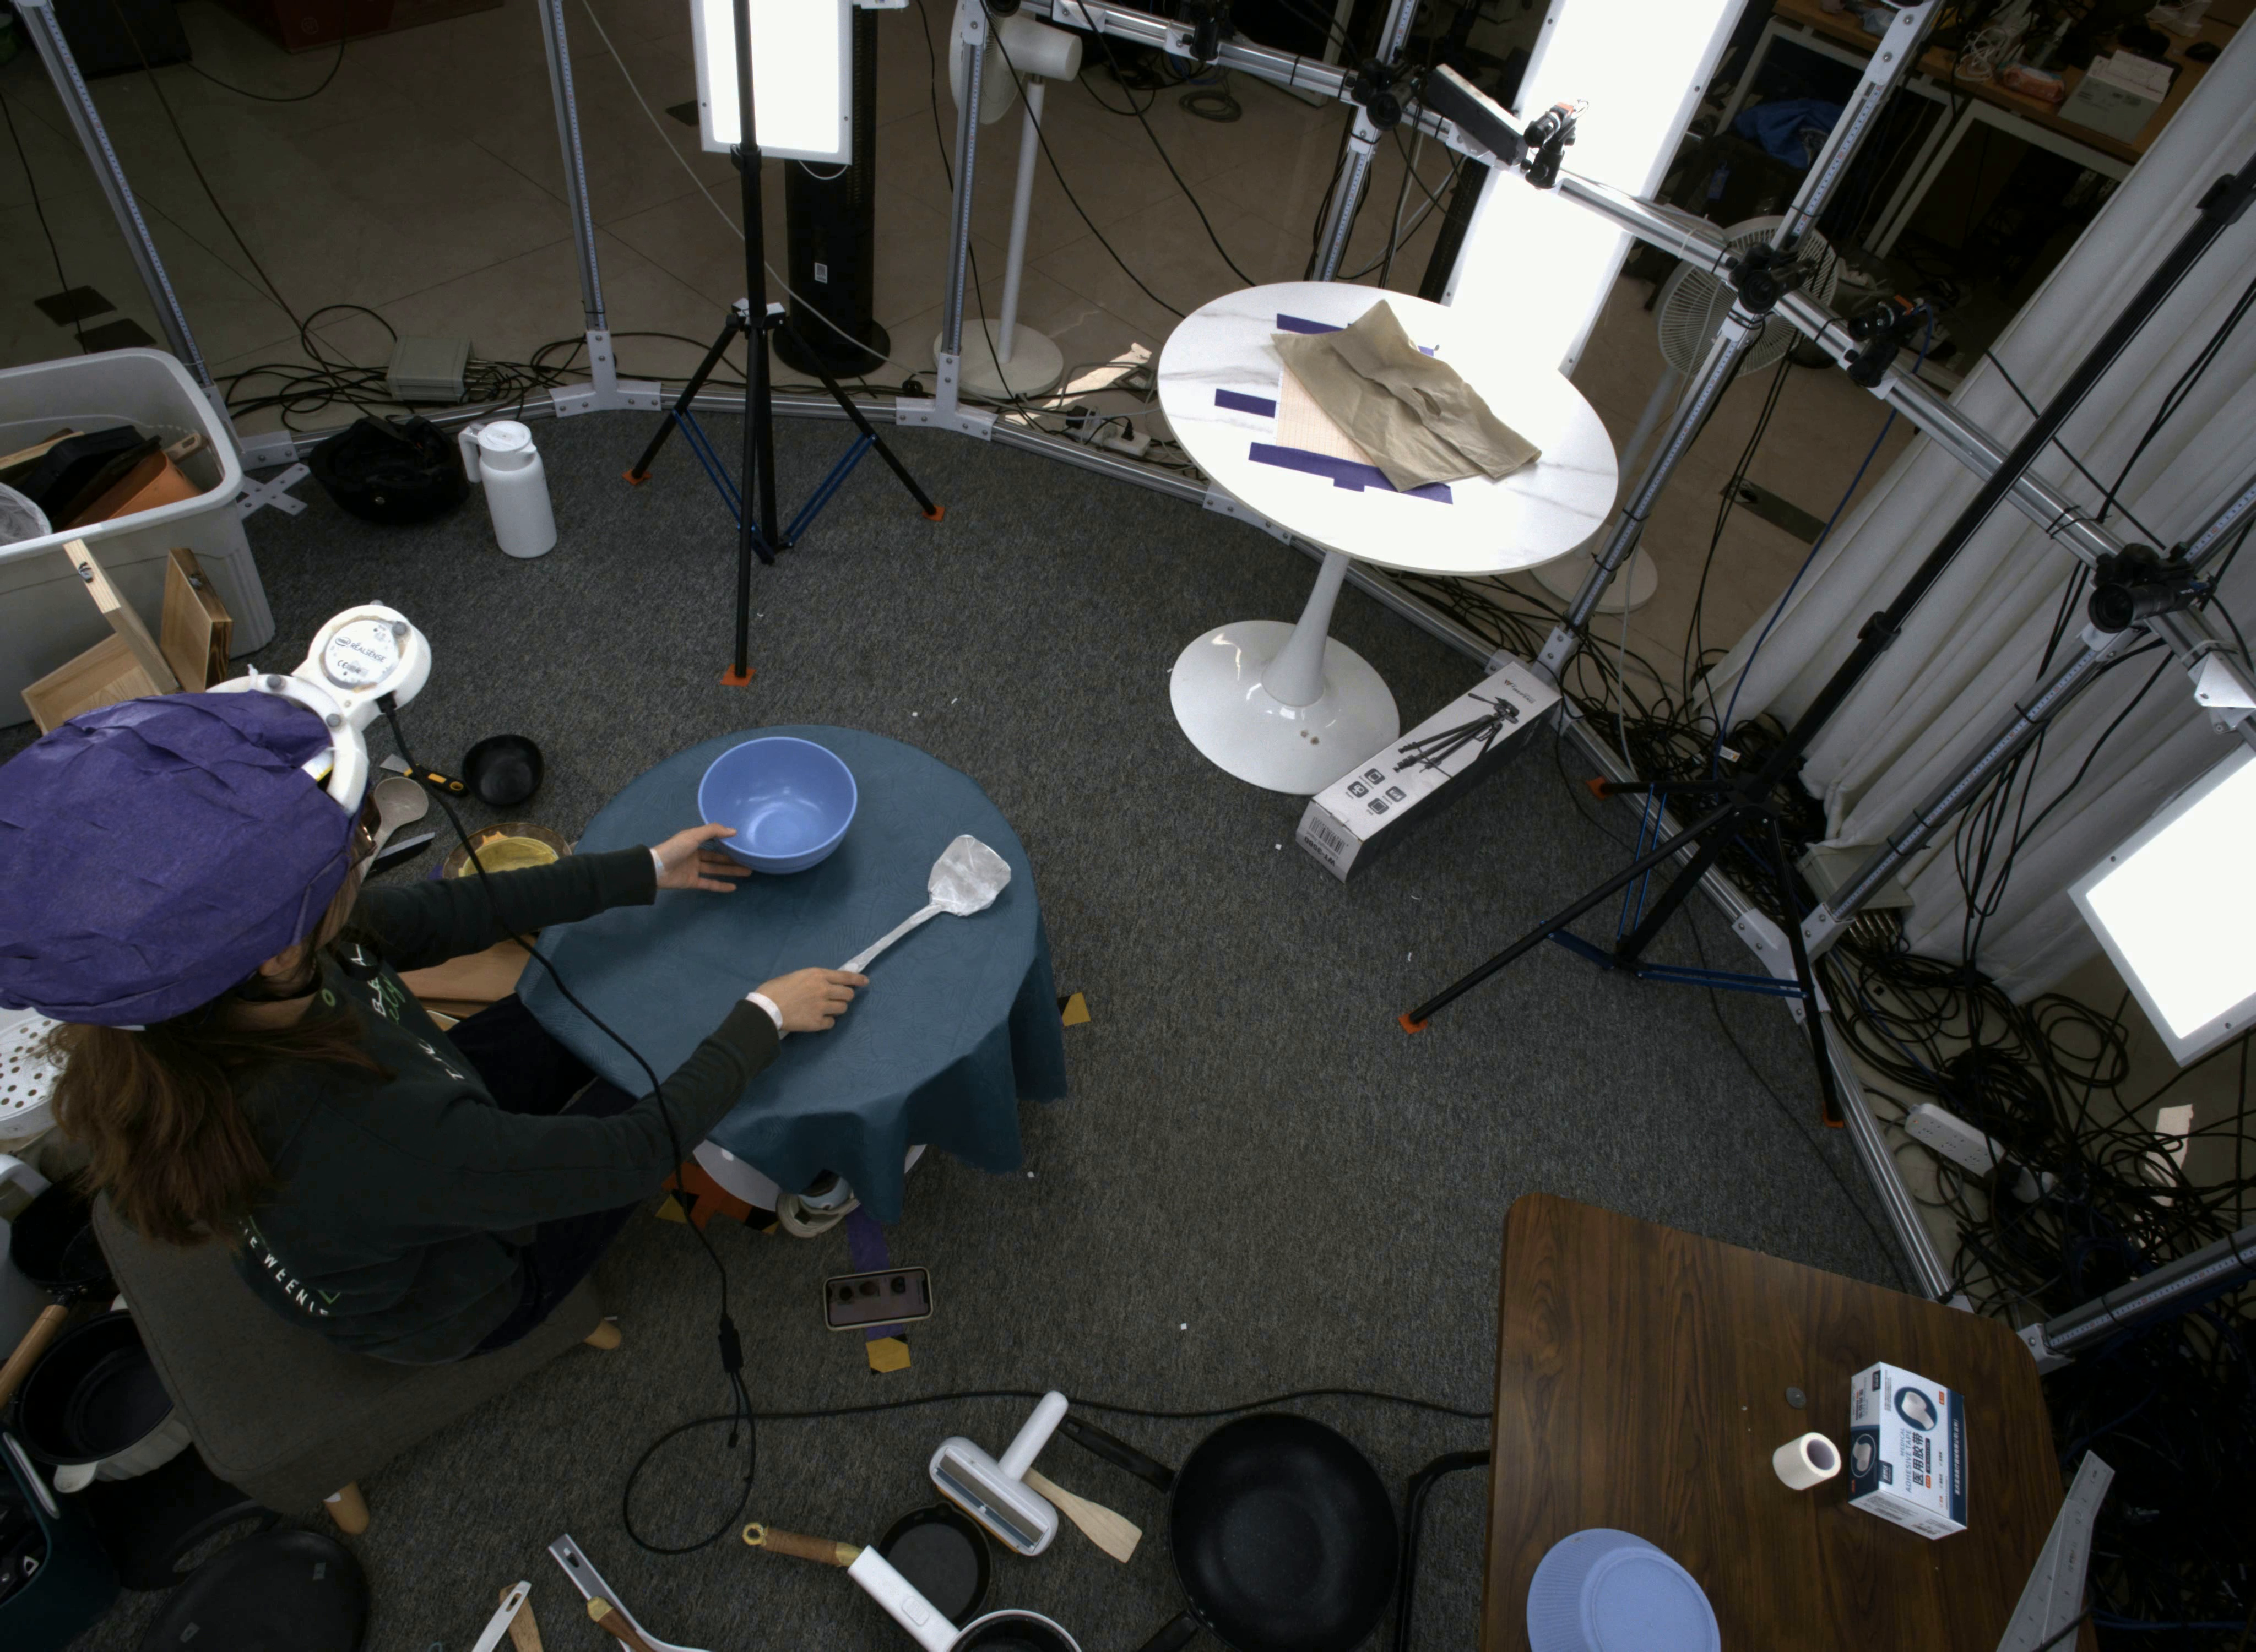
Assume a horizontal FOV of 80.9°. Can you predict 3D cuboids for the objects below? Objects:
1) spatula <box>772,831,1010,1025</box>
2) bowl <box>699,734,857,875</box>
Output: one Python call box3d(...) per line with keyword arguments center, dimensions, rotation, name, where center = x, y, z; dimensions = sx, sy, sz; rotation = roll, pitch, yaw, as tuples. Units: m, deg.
box3d(center=(-0.299, 0.134, 1.637), dimensions=(0.097, 0.045, 0.365), rotation=(41, 55, 15), name="spatula")
box3d(center=(-0.449, -0.013, 1.670), dimensions=(0.196, 0.097, 0.193), rotation=(8, 52, -9), name="bowl")
